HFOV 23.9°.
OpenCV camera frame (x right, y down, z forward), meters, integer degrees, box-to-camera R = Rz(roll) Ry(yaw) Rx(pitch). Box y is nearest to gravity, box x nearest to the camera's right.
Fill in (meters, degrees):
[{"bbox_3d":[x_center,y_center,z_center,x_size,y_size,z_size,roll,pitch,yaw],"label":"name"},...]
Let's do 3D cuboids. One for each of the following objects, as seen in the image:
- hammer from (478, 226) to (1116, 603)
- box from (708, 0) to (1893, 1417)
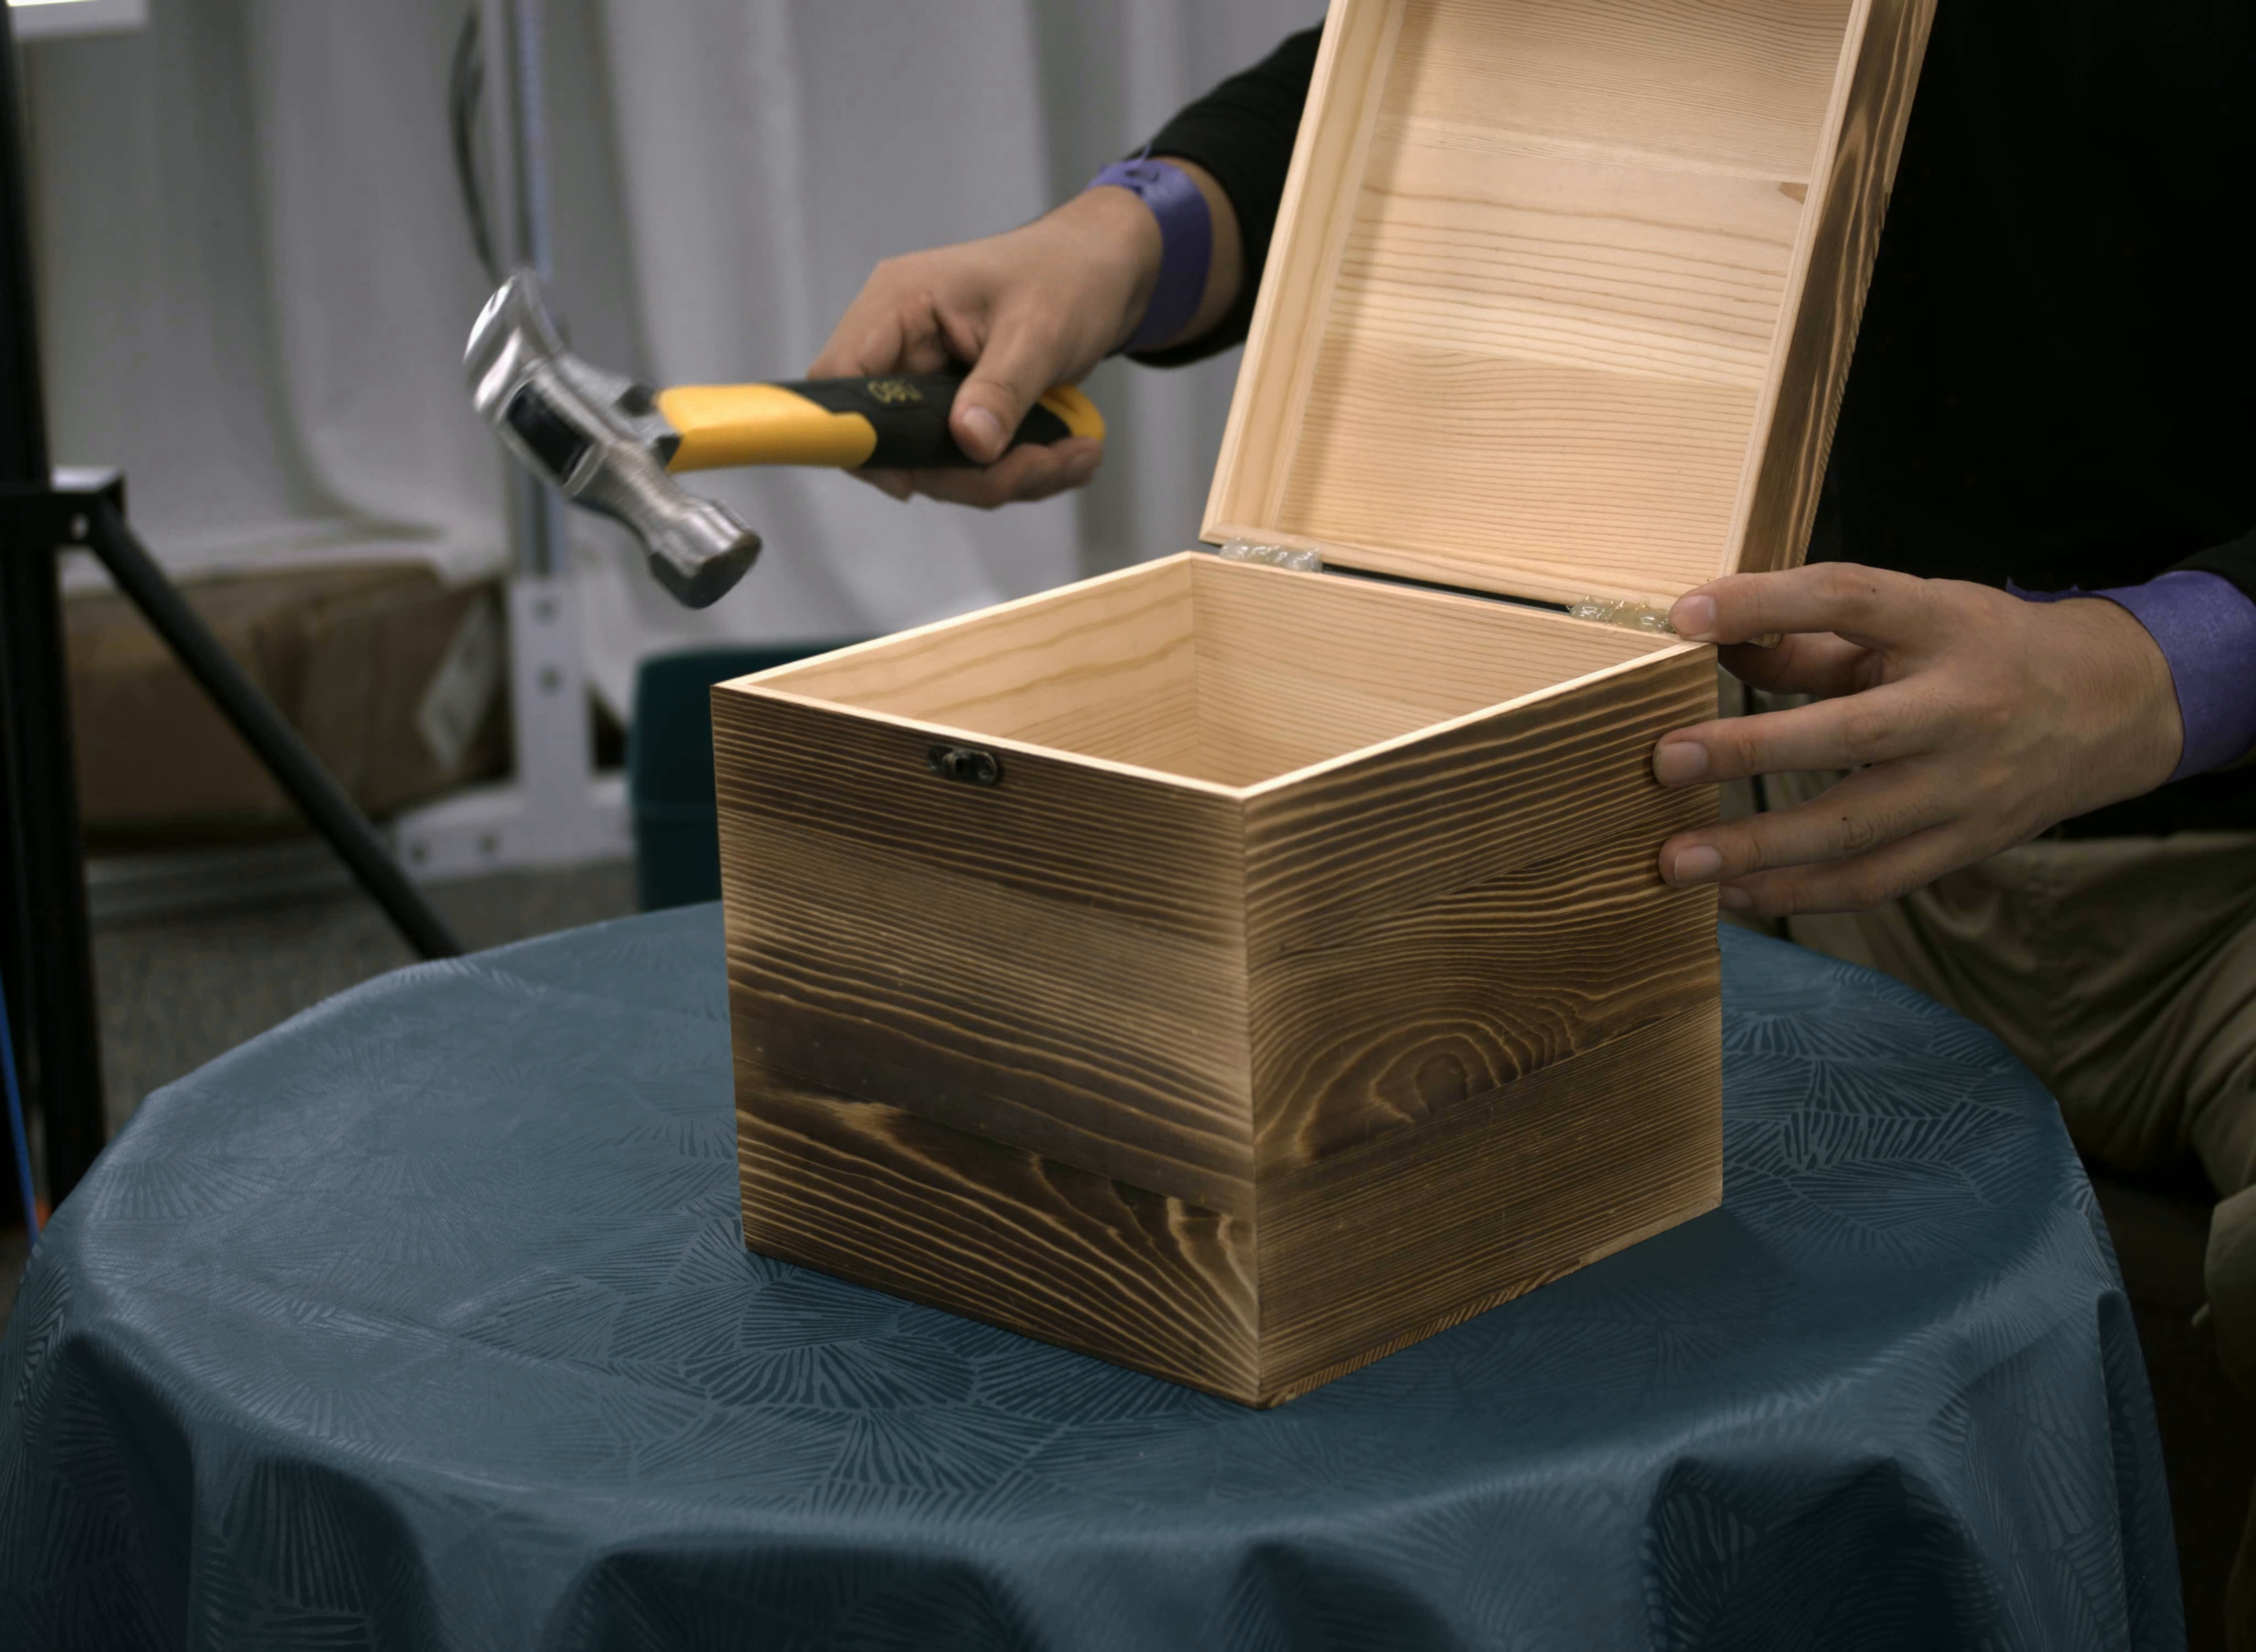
[{"bbox_3d":[-0.090,-0.132,1.681,0.133,0.032,0.332,45,22,16],"label":"hammer"},{"bbox_3d":[0.058,-0.069,1.510,0.213,0.375,0.315,12,20,43],"label":"box"}]
